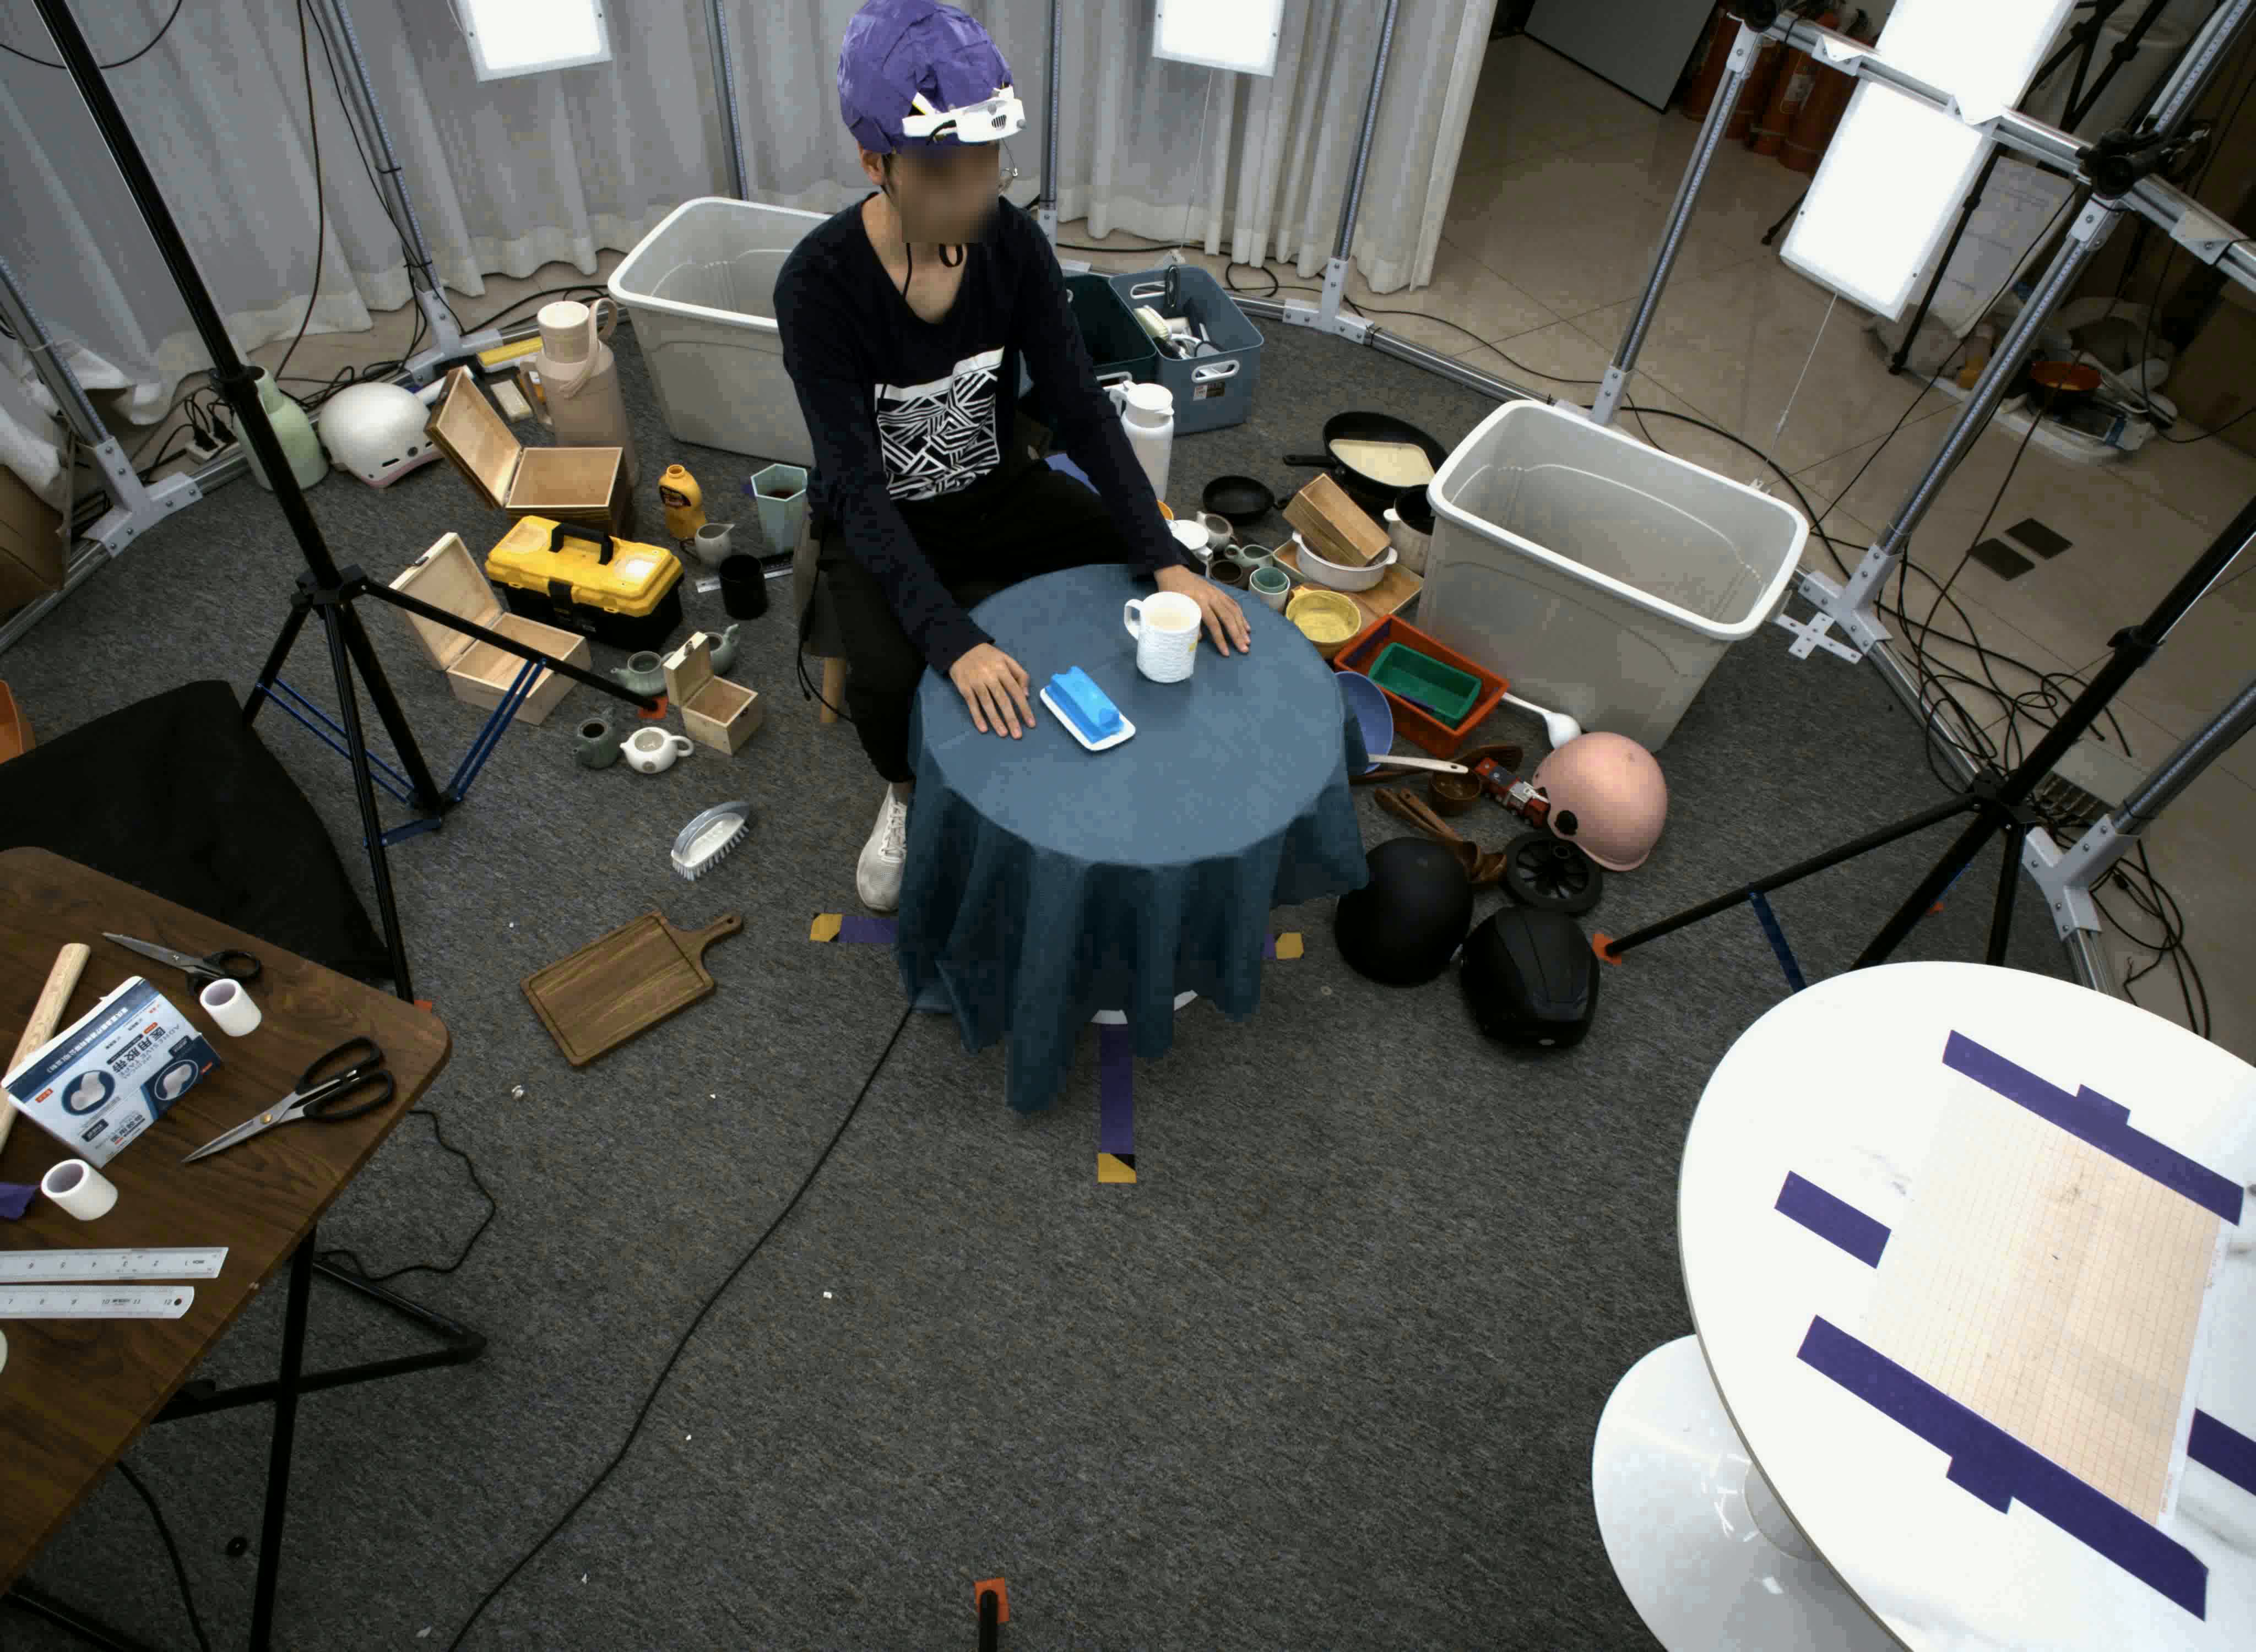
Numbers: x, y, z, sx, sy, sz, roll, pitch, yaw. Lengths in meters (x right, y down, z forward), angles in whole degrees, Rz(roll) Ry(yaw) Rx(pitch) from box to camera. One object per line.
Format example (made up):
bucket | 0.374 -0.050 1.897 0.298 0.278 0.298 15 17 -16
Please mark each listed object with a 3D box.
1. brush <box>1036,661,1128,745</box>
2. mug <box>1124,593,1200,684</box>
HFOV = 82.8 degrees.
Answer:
brush | -0.062 -0.177 1.778 0.084 0.054 0.147 -22 56 -25
mug | 0.044 -0.275 1.844 0.119 0.099 0.086 30 54 21
